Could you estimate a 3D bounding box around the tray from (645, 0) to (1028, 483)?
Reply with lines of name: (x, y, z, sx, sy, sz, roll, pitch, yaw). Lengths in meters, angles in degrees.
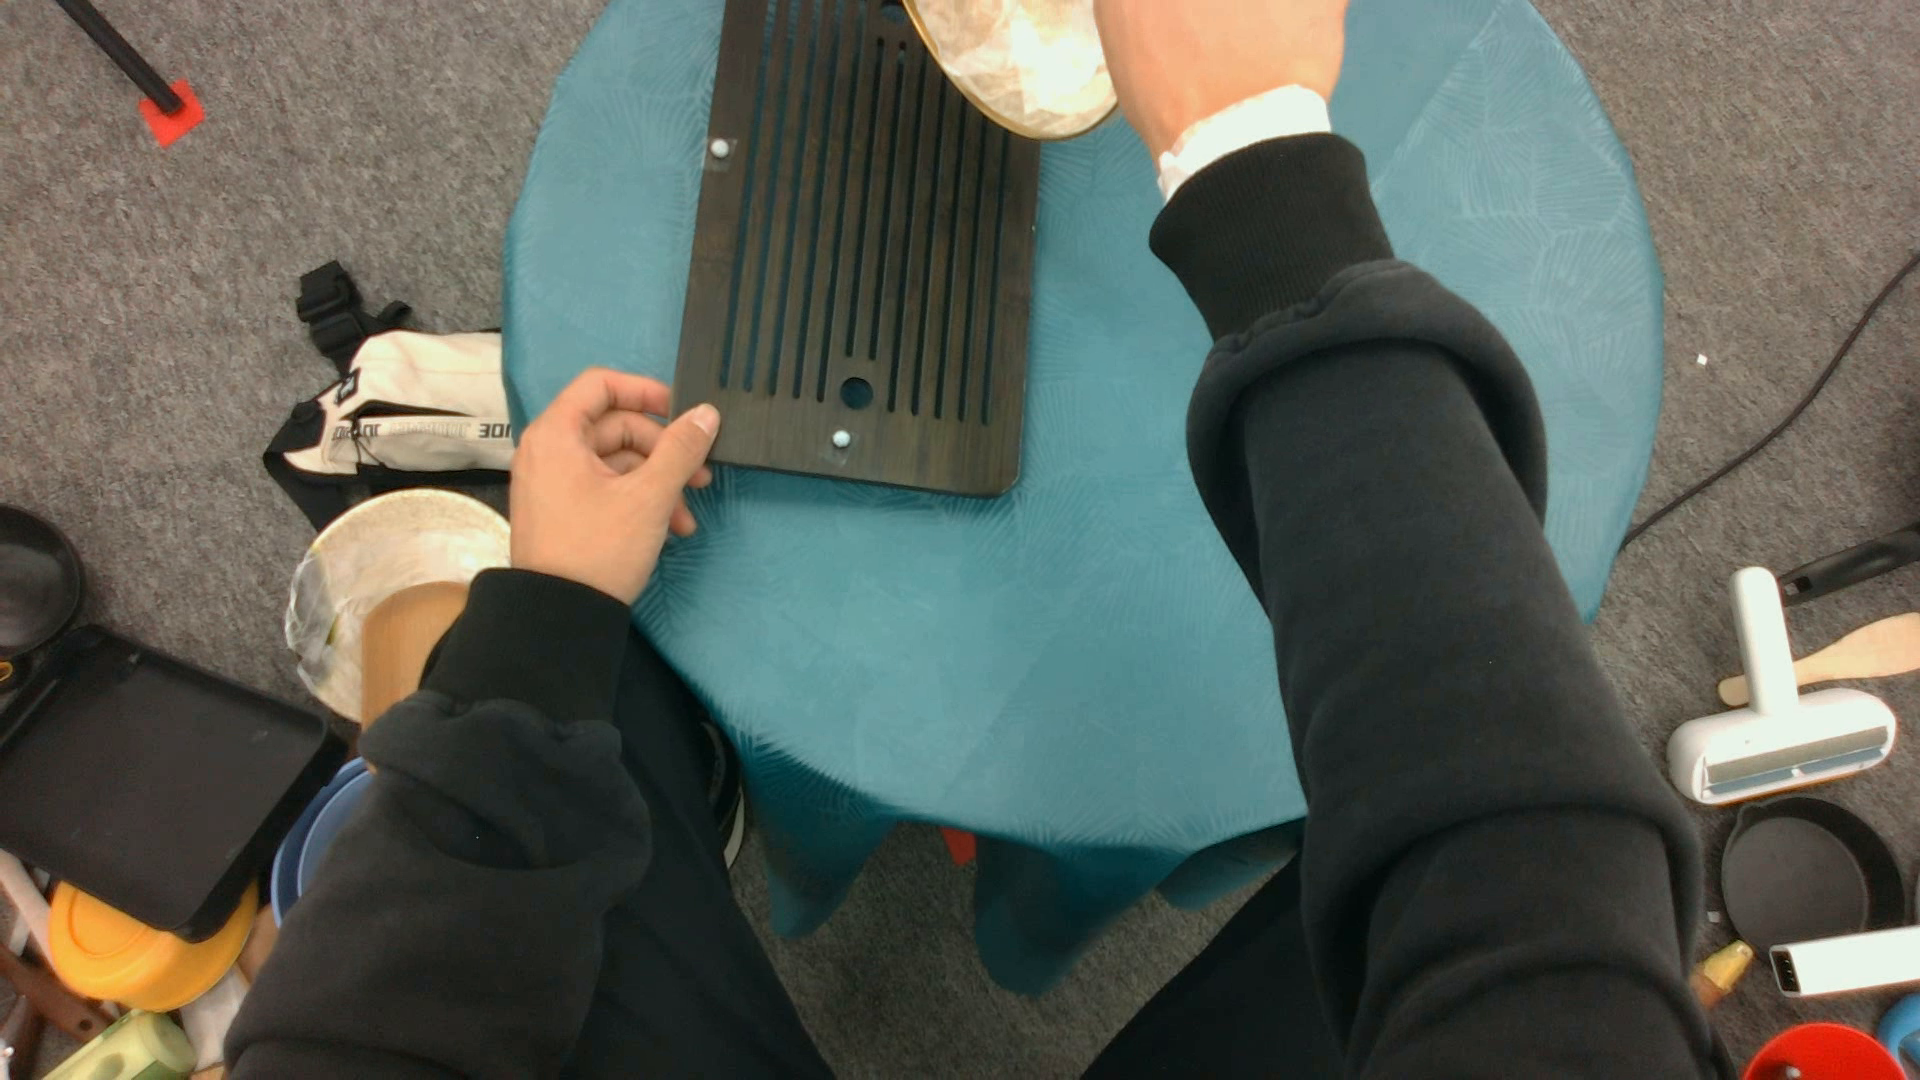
tray: (-0.056, -0.181, 0.701, 0.170, 0.018, 0.306, 7, 74, -9)

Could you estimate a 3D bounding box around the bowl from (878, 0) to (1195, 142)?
bowl: (0.043, -0.284, 0.590, 0.095, 0.213, 0.215, -29, 77, -26)
